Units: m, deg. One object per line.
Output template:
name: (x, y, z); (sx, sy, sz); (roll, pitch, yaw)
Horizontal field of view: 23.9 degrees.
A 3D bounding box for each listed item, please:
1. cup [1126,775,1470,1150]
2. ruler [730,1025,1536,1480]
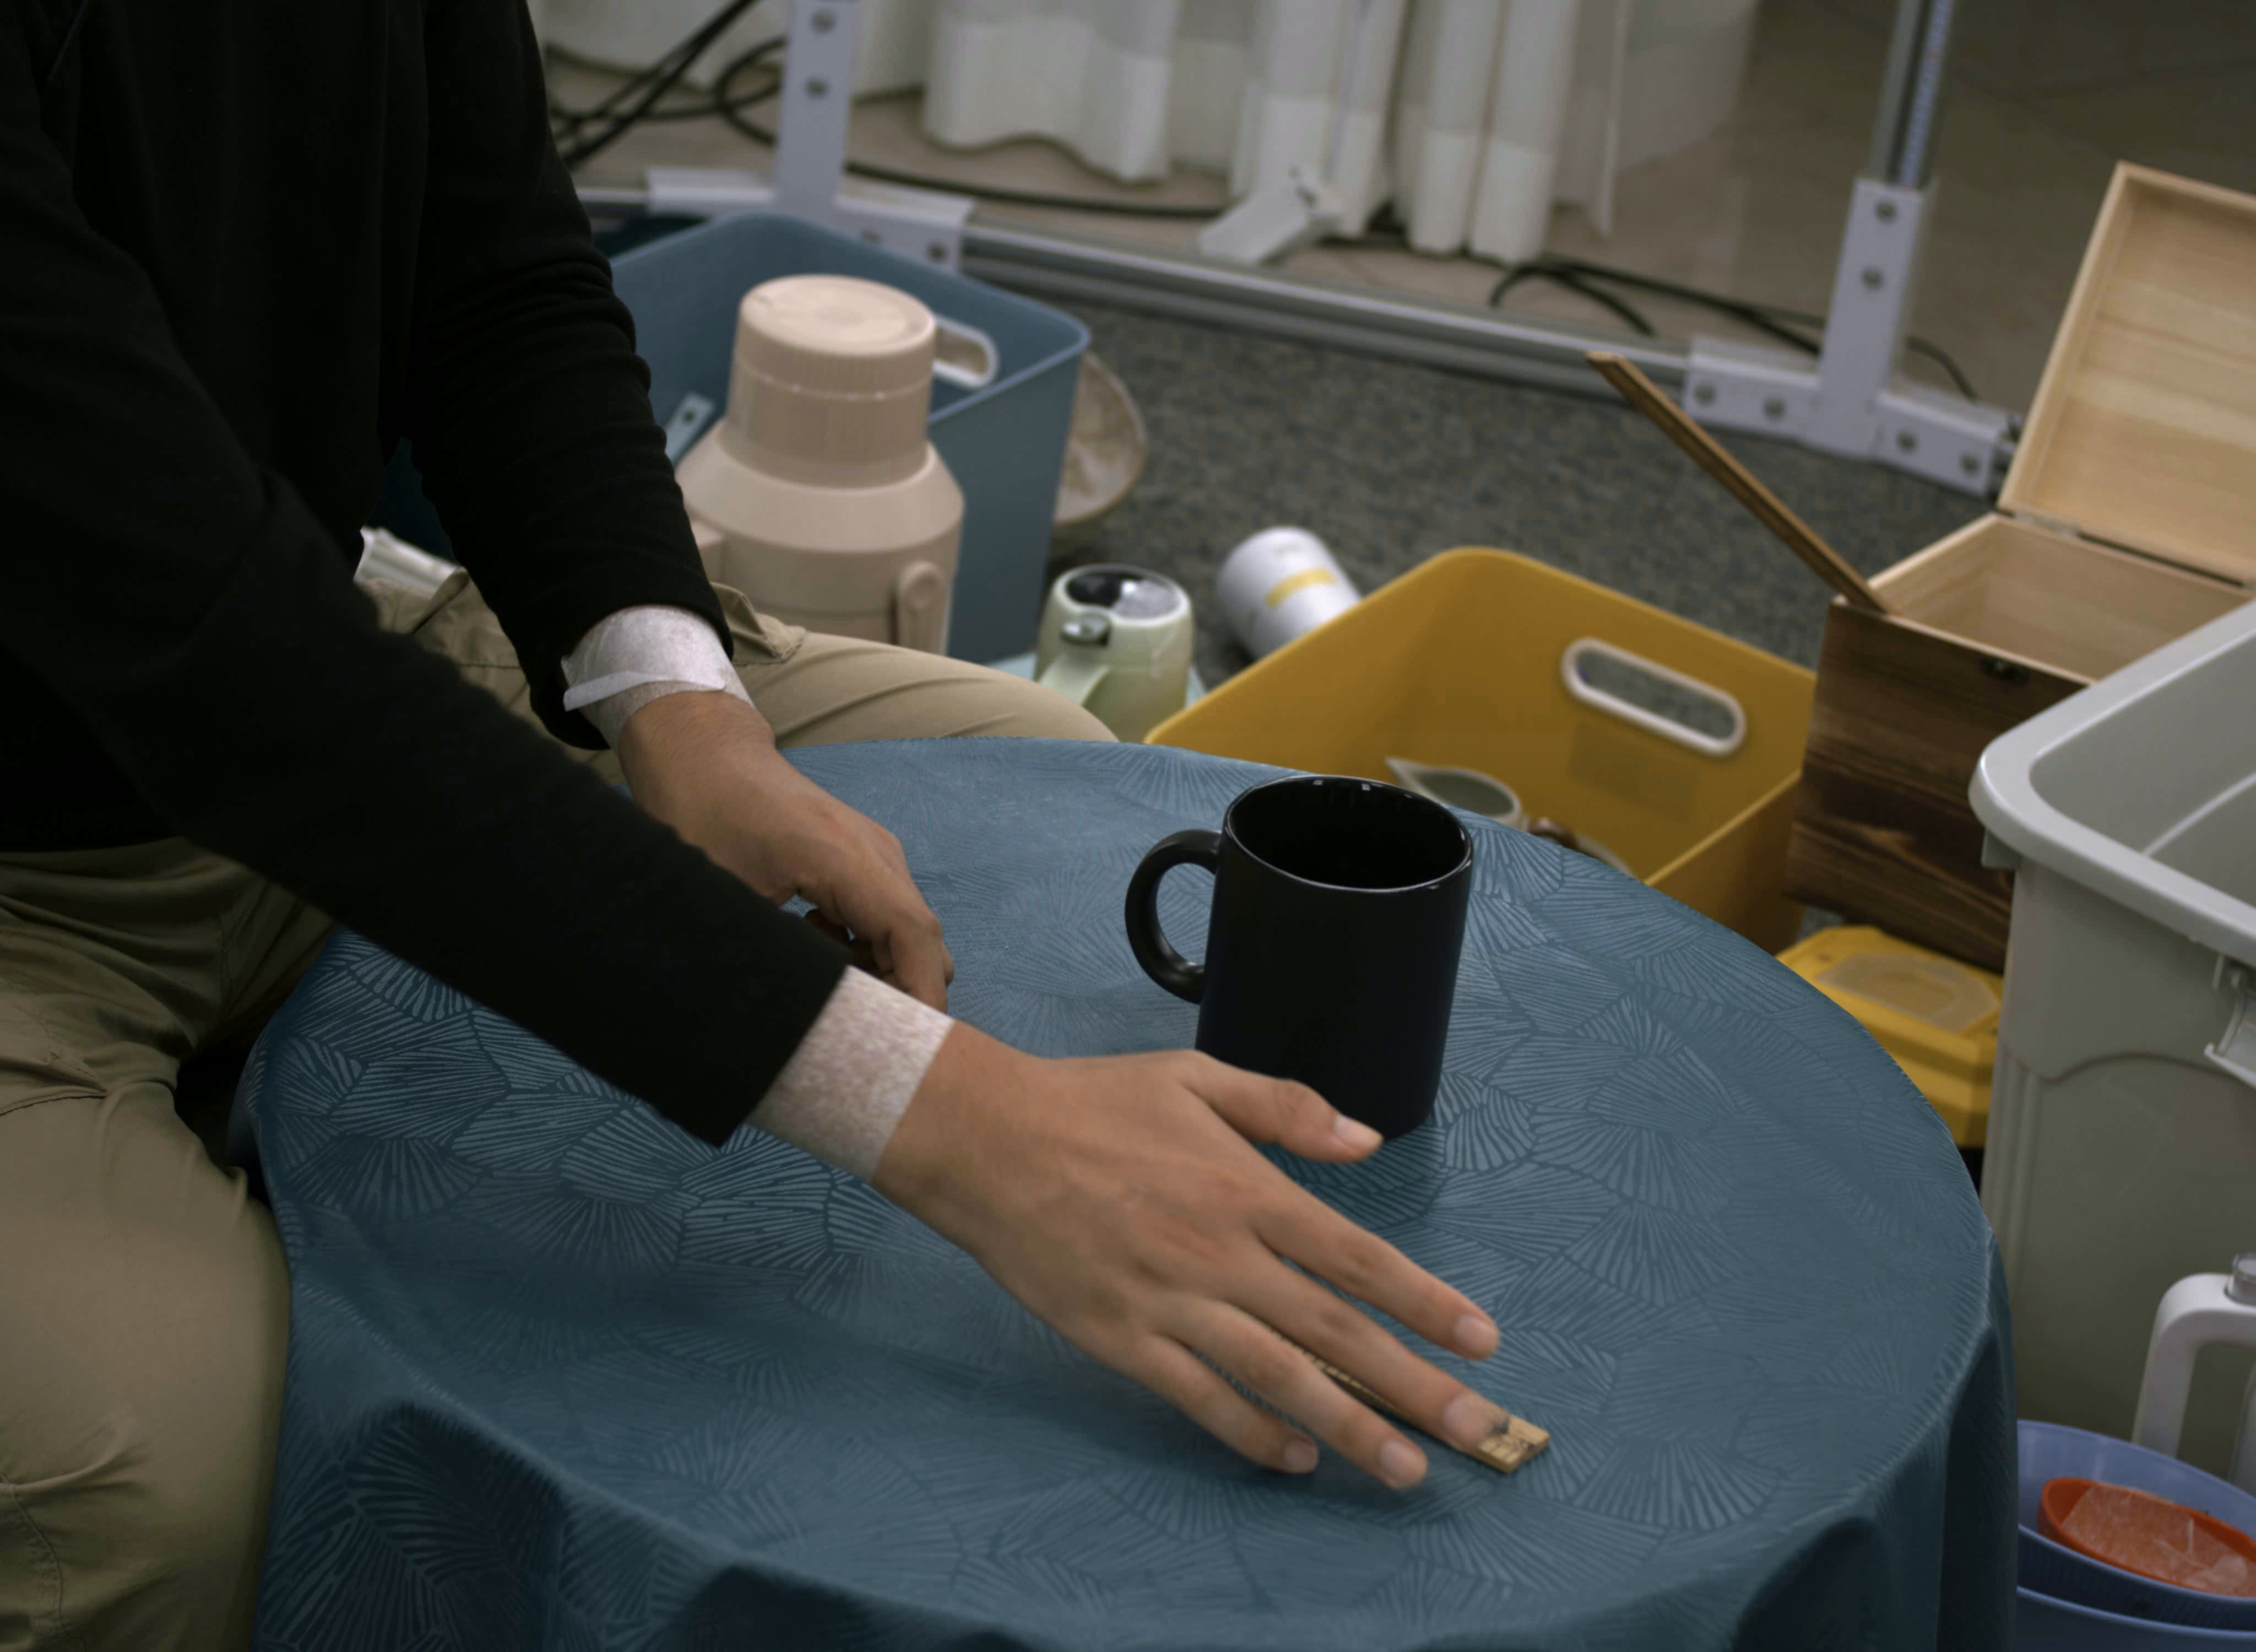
cup: (0.055, 0.042, 1.862); (0.124, 0.105, 0.088); (18, 30, 23)
ruler: (-0.004, 0.135, 1.764); (0.334, 0.022, 0.027); (27, 29, 32)
